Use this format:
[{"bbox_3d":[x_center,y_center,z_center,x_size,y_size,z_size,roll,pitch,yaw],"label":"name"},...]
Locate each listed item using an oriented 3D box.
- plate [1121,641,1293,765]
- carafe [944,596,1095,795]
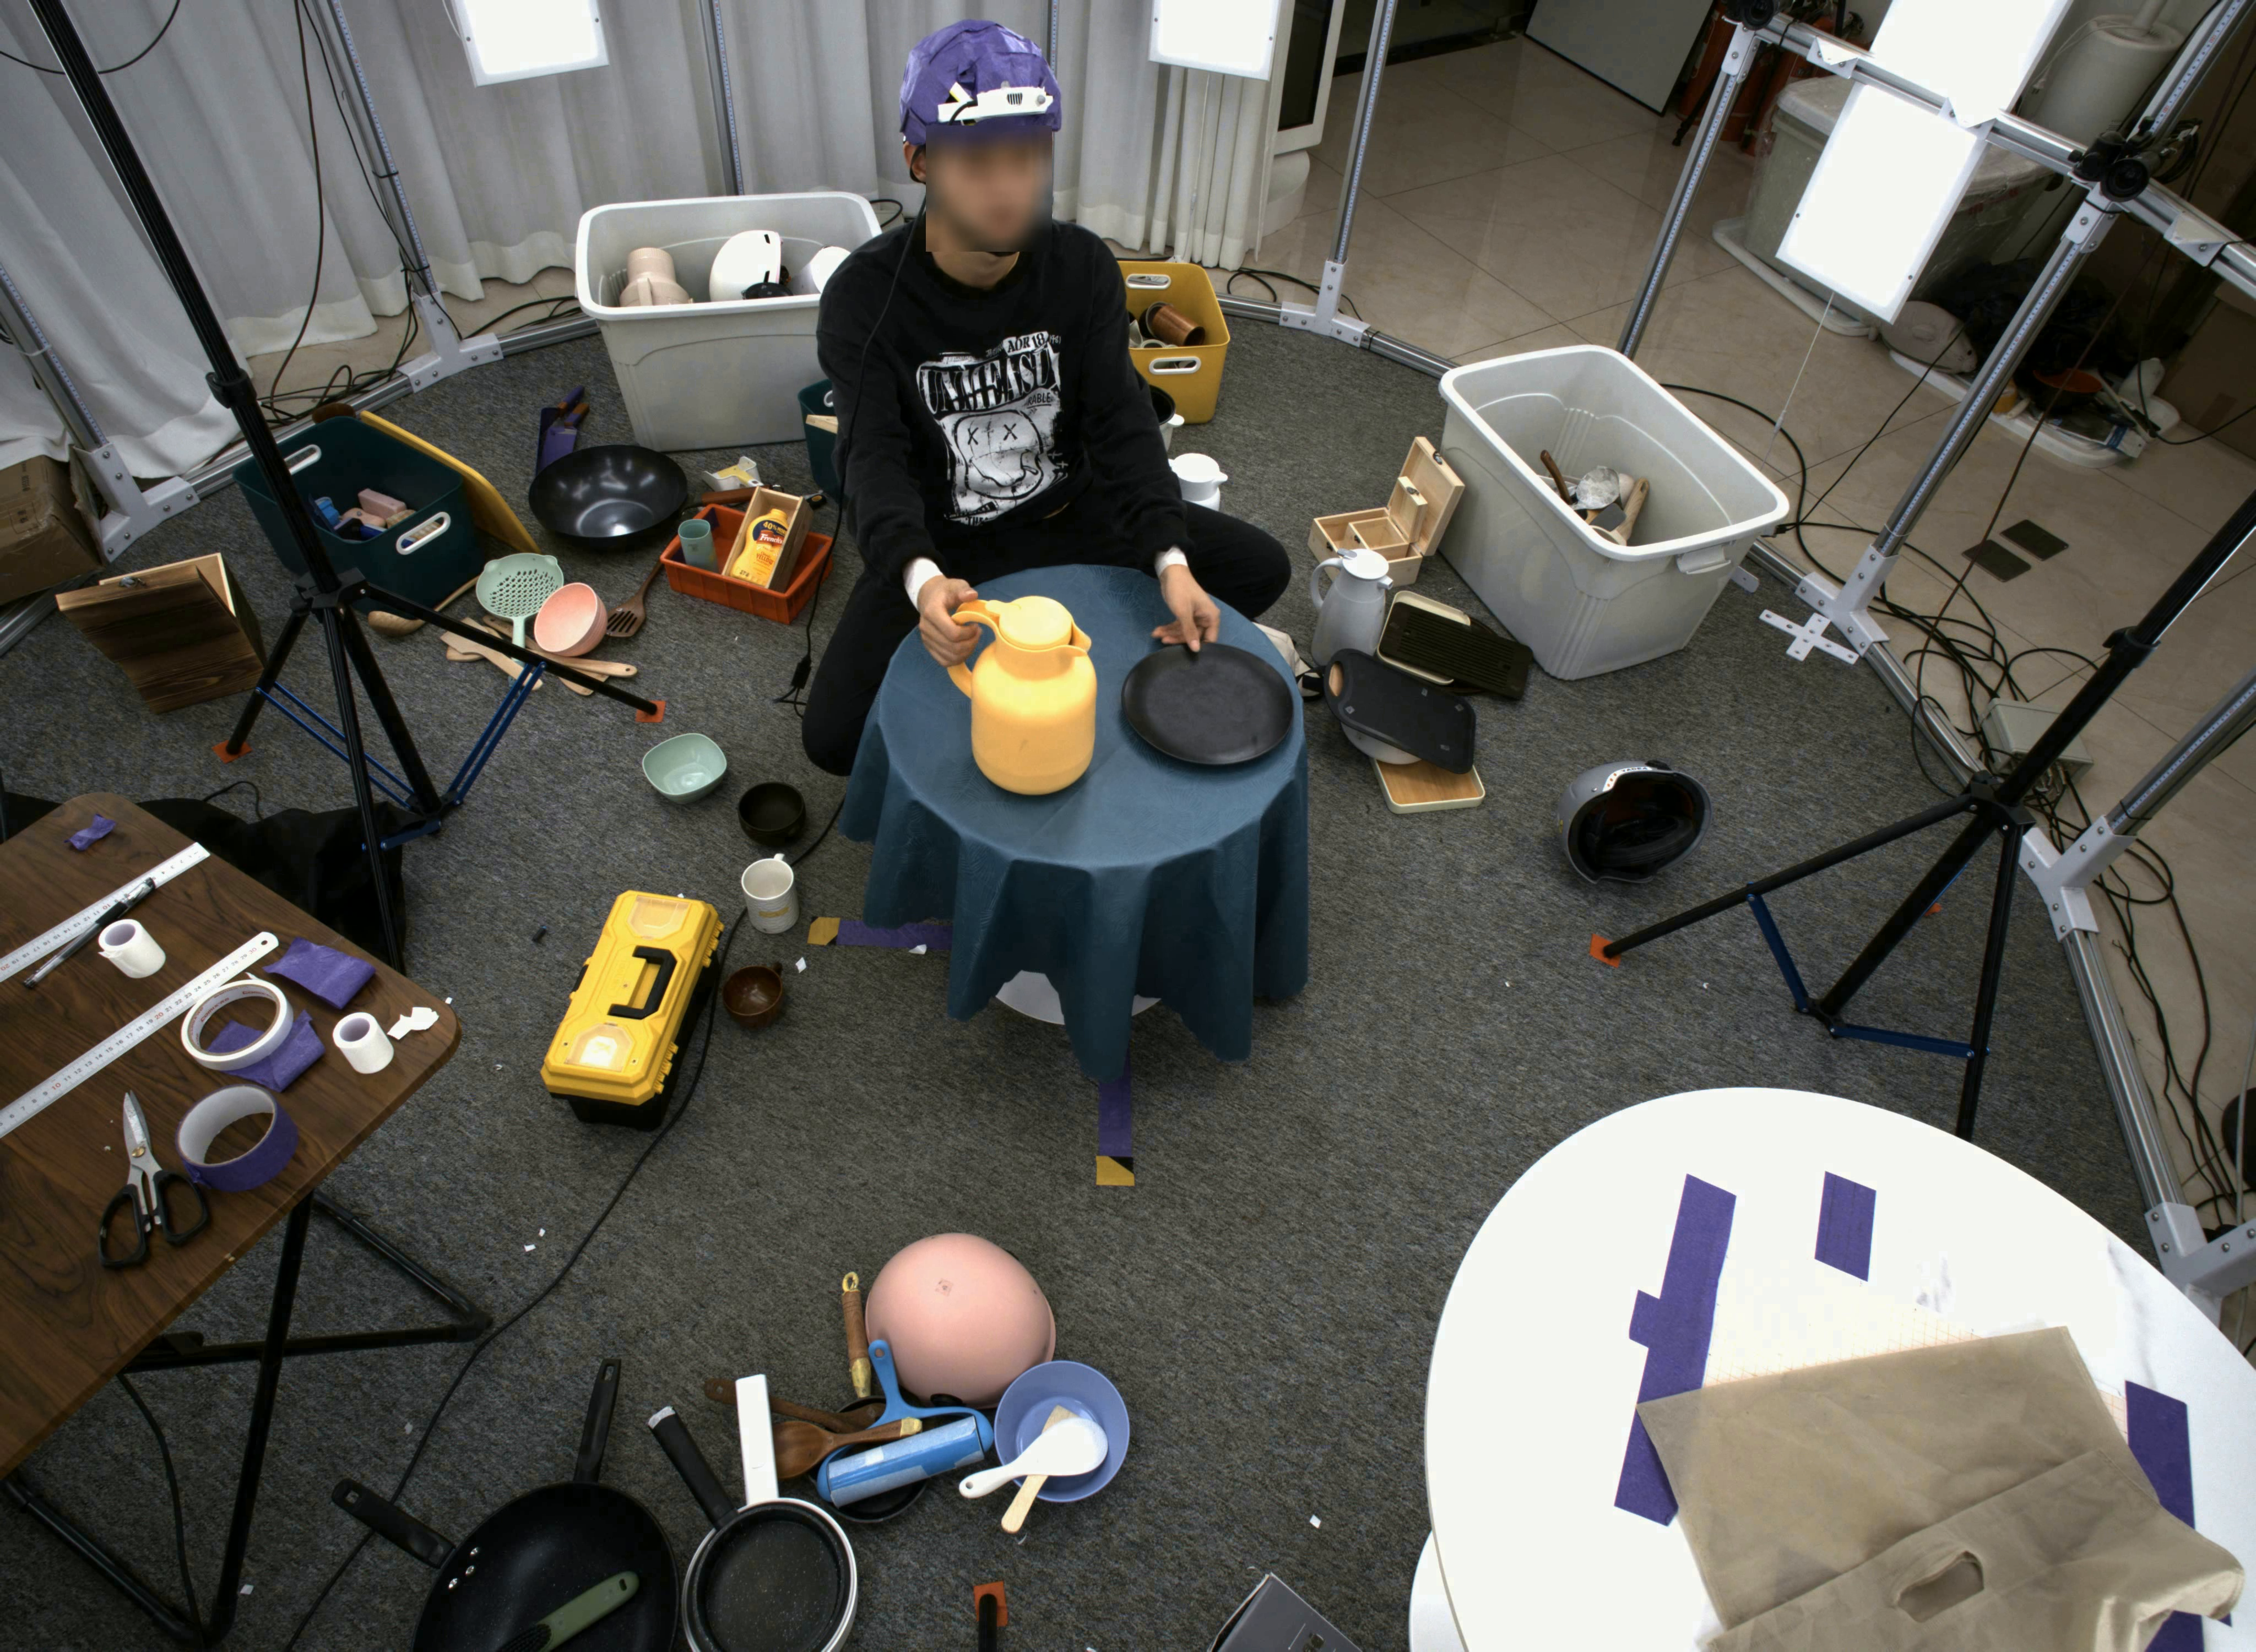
[{"bbox_3d":[0.111,-0.170,1.808,0.244,0.023,0.250,2,49,-2],"label":"plate"},{"bbox_3d":[-0.140,-0.180,1.647,0.203,0.254,0.166,24,49,14],"label":"carafe"}]
